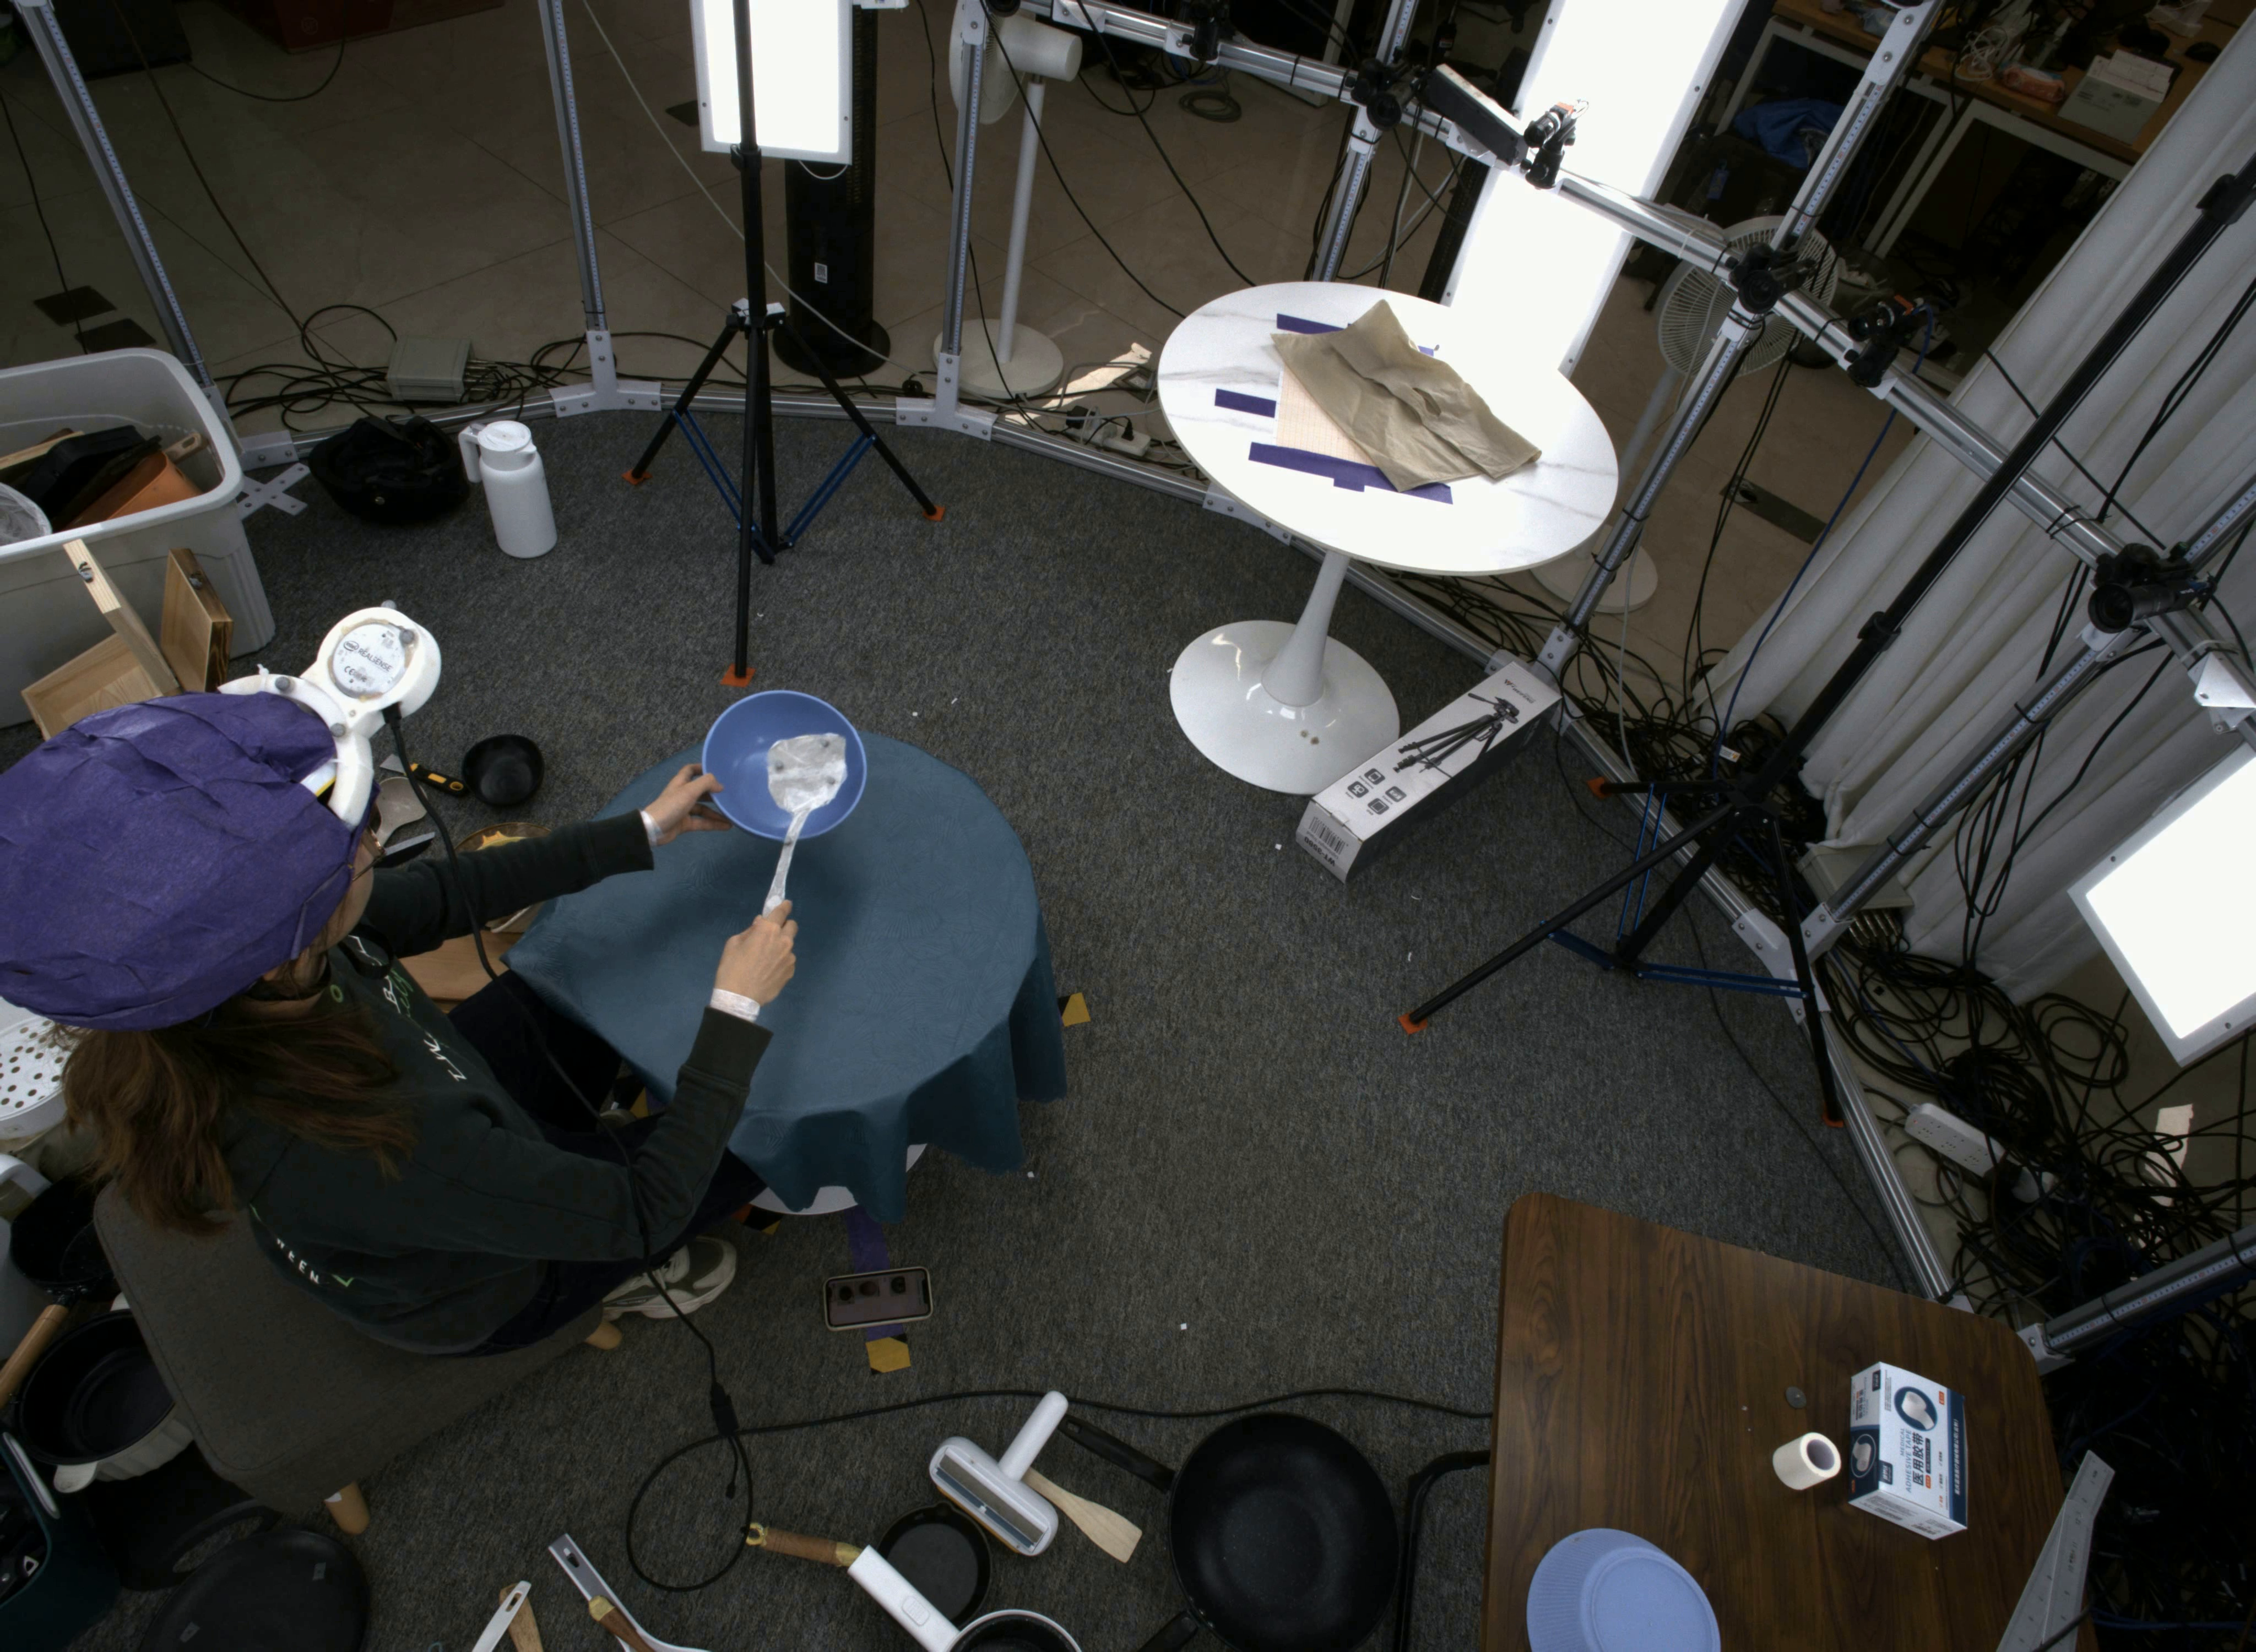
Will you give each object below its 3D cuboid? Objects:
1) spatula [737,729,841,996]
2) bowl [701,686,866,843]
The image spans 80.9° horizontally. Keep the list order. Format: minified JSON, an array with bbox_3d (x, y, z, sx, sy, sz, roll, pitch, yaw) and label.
[{"bbox_3d":[-0.389,0.028,1.440,0.097,0.046,0.357,-4,46,6],"label":"spatula"},{"bbox_3d":[-0.431,-0.063,1.607,0.198,0.095,0.195,9,68,-20],"label":"bowl"}]
